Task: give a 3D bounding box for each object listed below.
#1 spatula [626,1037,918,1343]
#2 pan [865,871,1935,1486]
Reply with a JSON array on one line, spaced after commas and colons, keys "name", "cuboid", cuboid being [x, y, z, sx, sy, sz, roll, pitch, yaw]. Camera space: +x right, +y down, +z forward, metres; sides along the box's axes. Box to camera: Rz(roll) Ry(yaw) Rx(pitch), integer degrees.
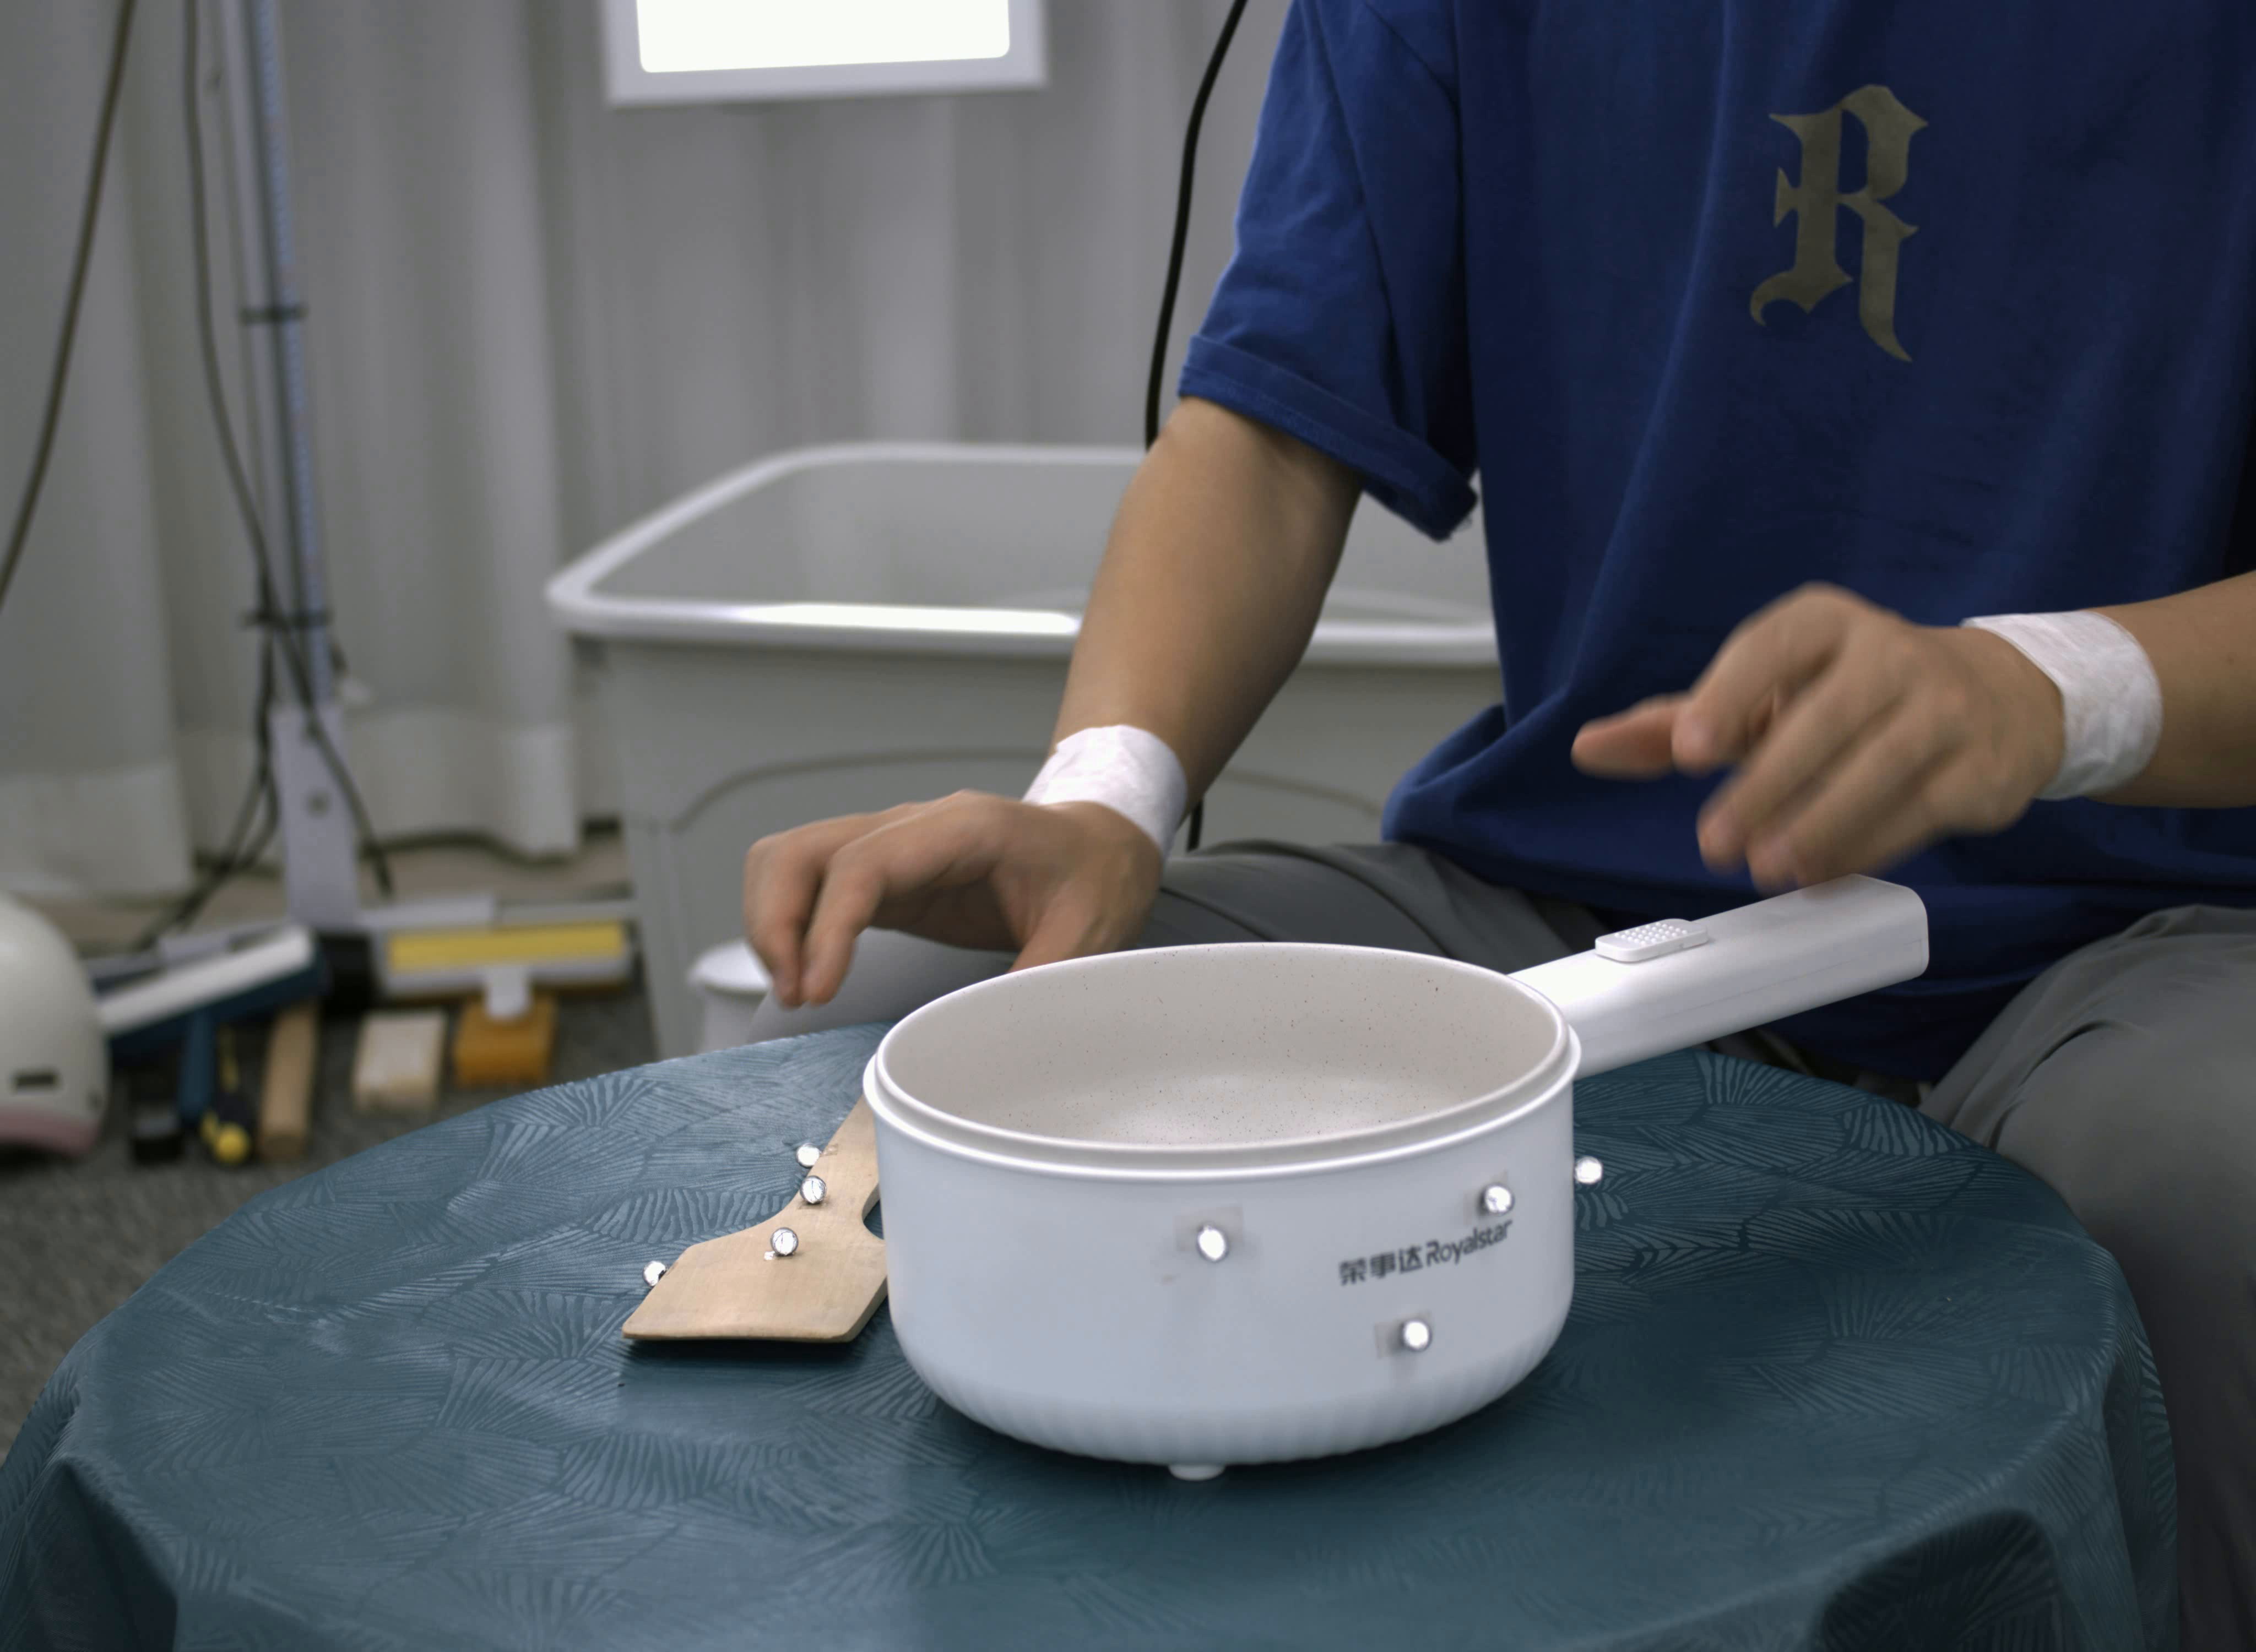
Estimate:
[{"name": "spatula", "cuboid": [-0.089, 0.112, 1.719, 0.072, 0.010, 0.294, -1, 15, 11]}, {"name": "pan", "cuboid": [0.091, 0.095, 1.579, 0.353, 0.102, 0.202, -13, 16, -34]}]
